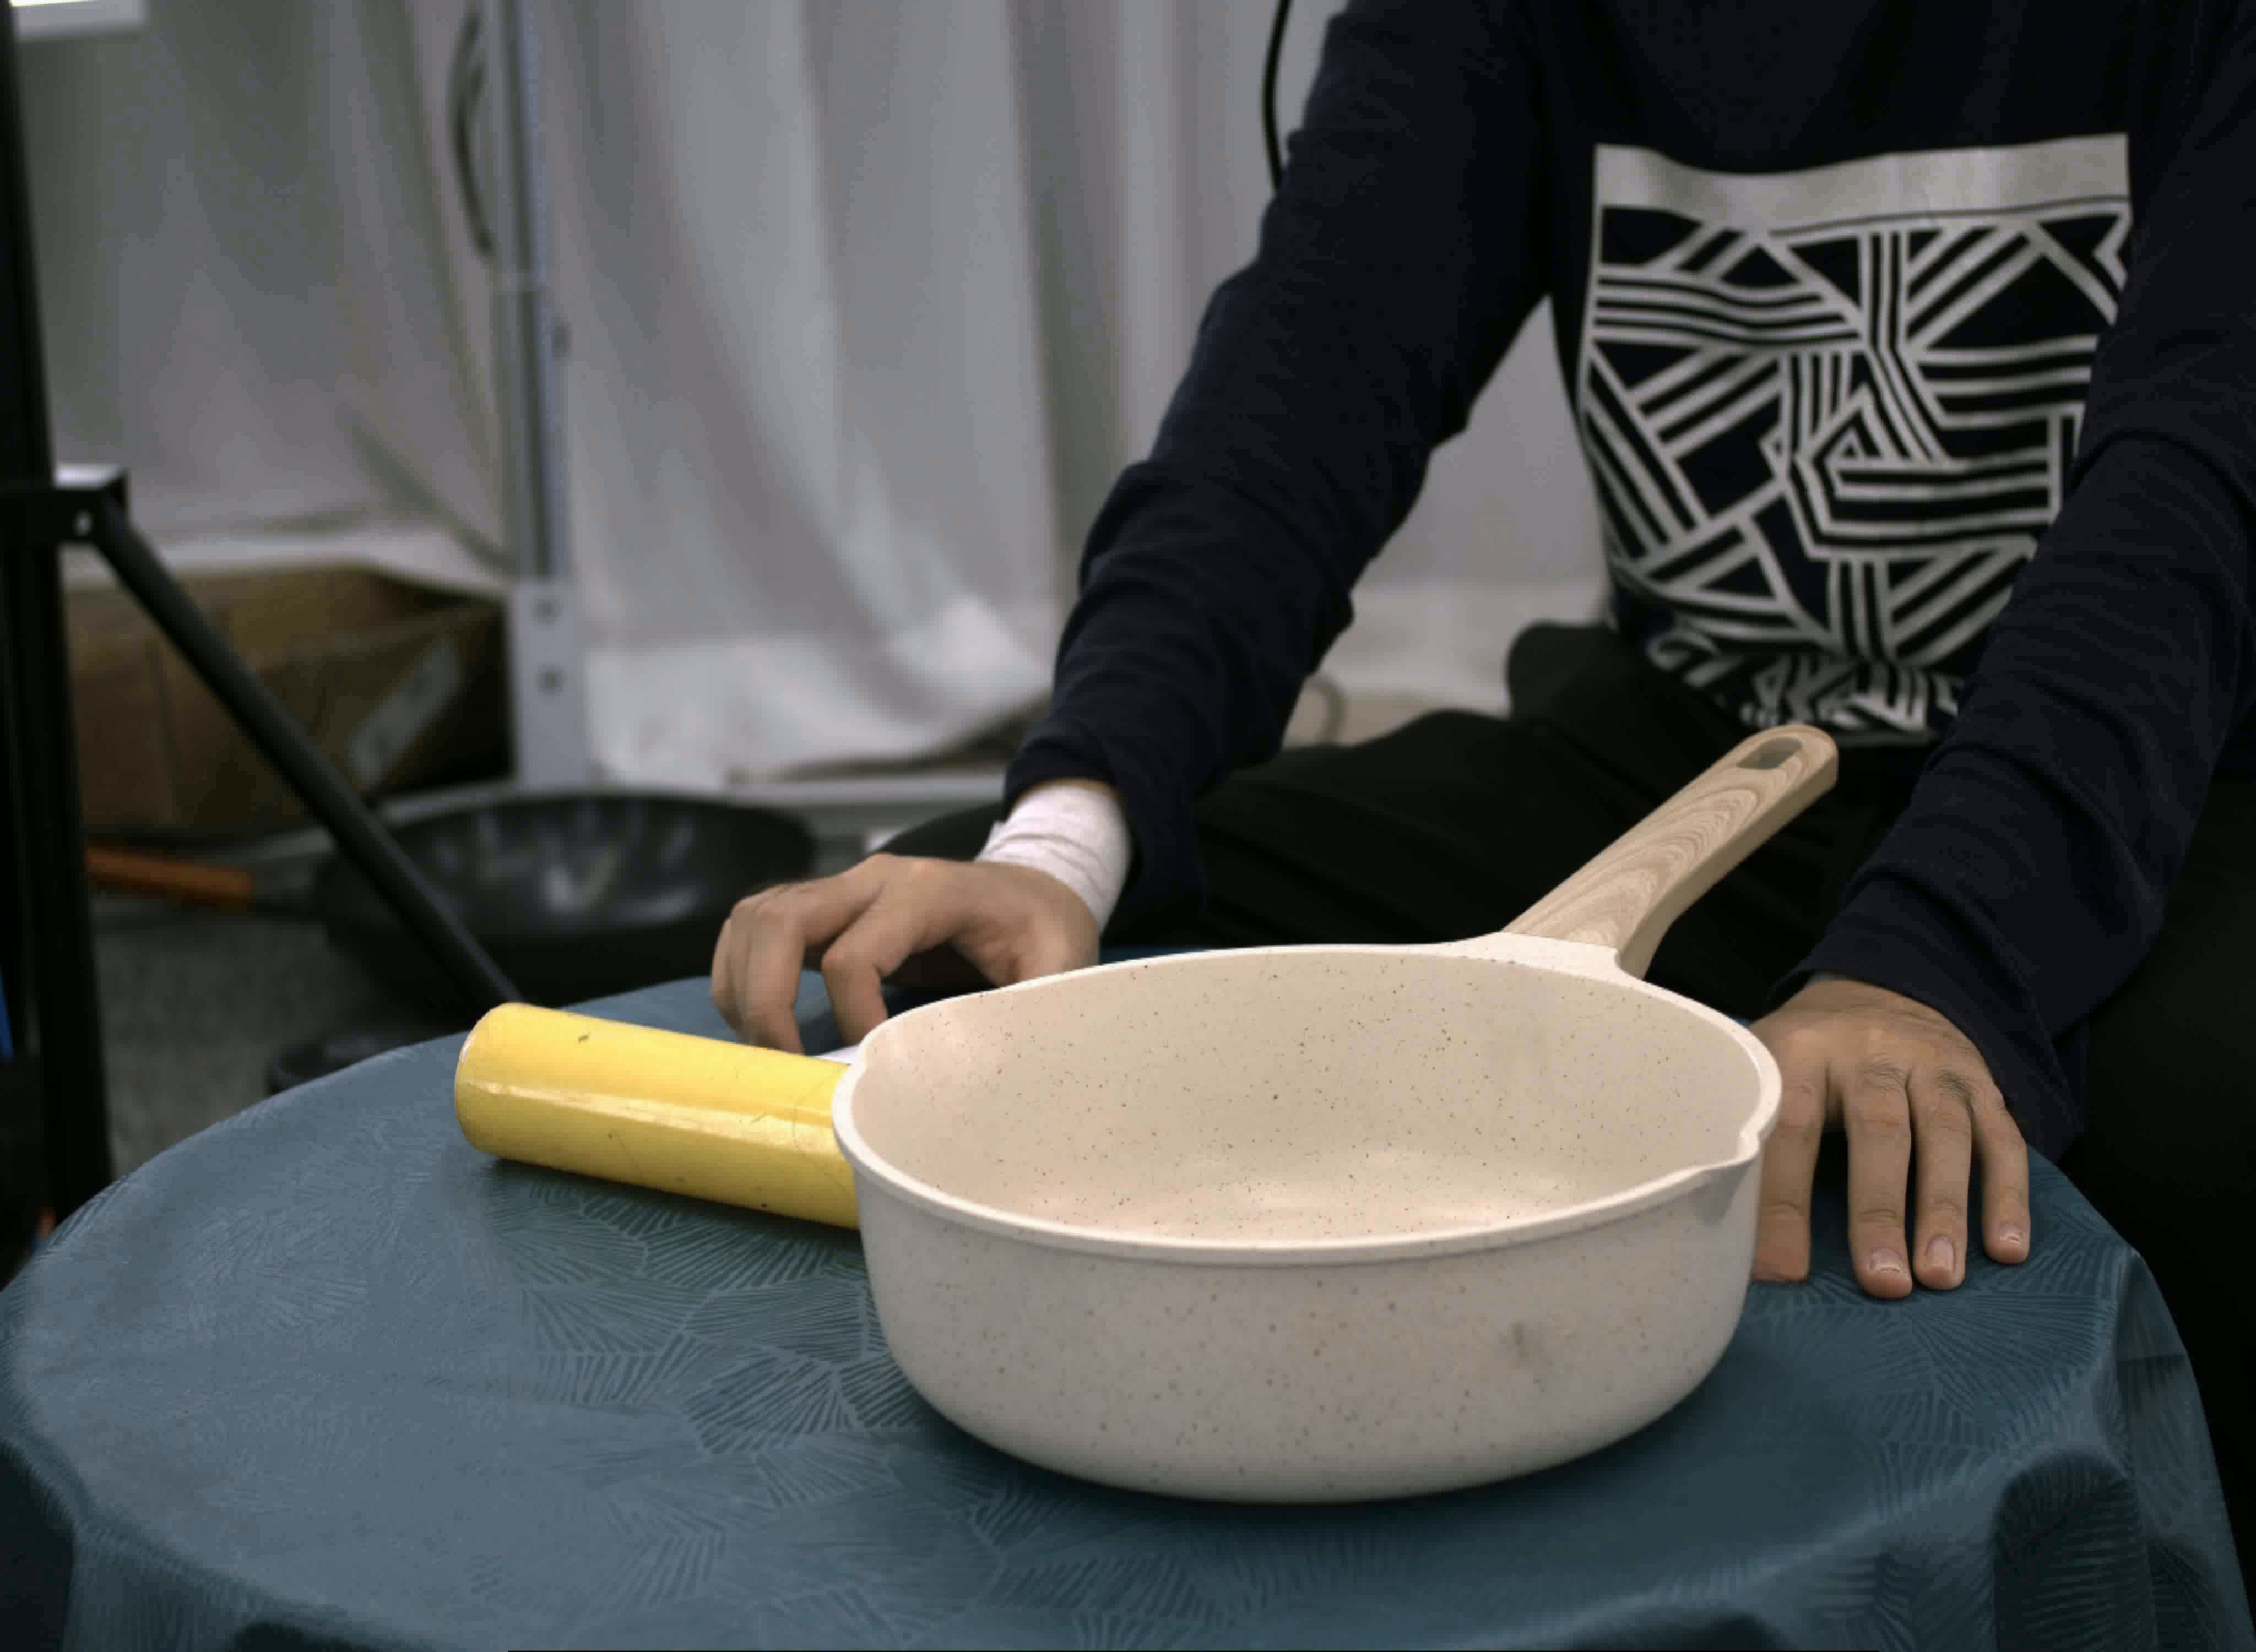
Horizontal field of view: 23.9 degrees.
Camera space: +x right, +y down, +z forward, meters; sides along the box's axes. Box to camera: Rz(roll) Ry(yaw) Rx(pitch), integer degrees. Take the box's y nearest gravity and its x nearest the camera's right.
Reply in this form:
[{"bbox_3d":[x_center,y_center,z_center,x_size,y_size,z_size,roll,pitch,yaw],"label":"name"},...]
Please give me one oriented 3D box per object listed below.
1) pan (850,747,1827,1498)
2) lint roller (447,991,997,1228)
[{"bbox_3d":[0.100,0.077,1.475,0.268,0.102,0.426,5,16,32],"label":"pan"},{"bbox_3d":[-0.086,0.069,1.629,0.178,0.051,0.188,8,18,33],"label":"lint roller"}]
